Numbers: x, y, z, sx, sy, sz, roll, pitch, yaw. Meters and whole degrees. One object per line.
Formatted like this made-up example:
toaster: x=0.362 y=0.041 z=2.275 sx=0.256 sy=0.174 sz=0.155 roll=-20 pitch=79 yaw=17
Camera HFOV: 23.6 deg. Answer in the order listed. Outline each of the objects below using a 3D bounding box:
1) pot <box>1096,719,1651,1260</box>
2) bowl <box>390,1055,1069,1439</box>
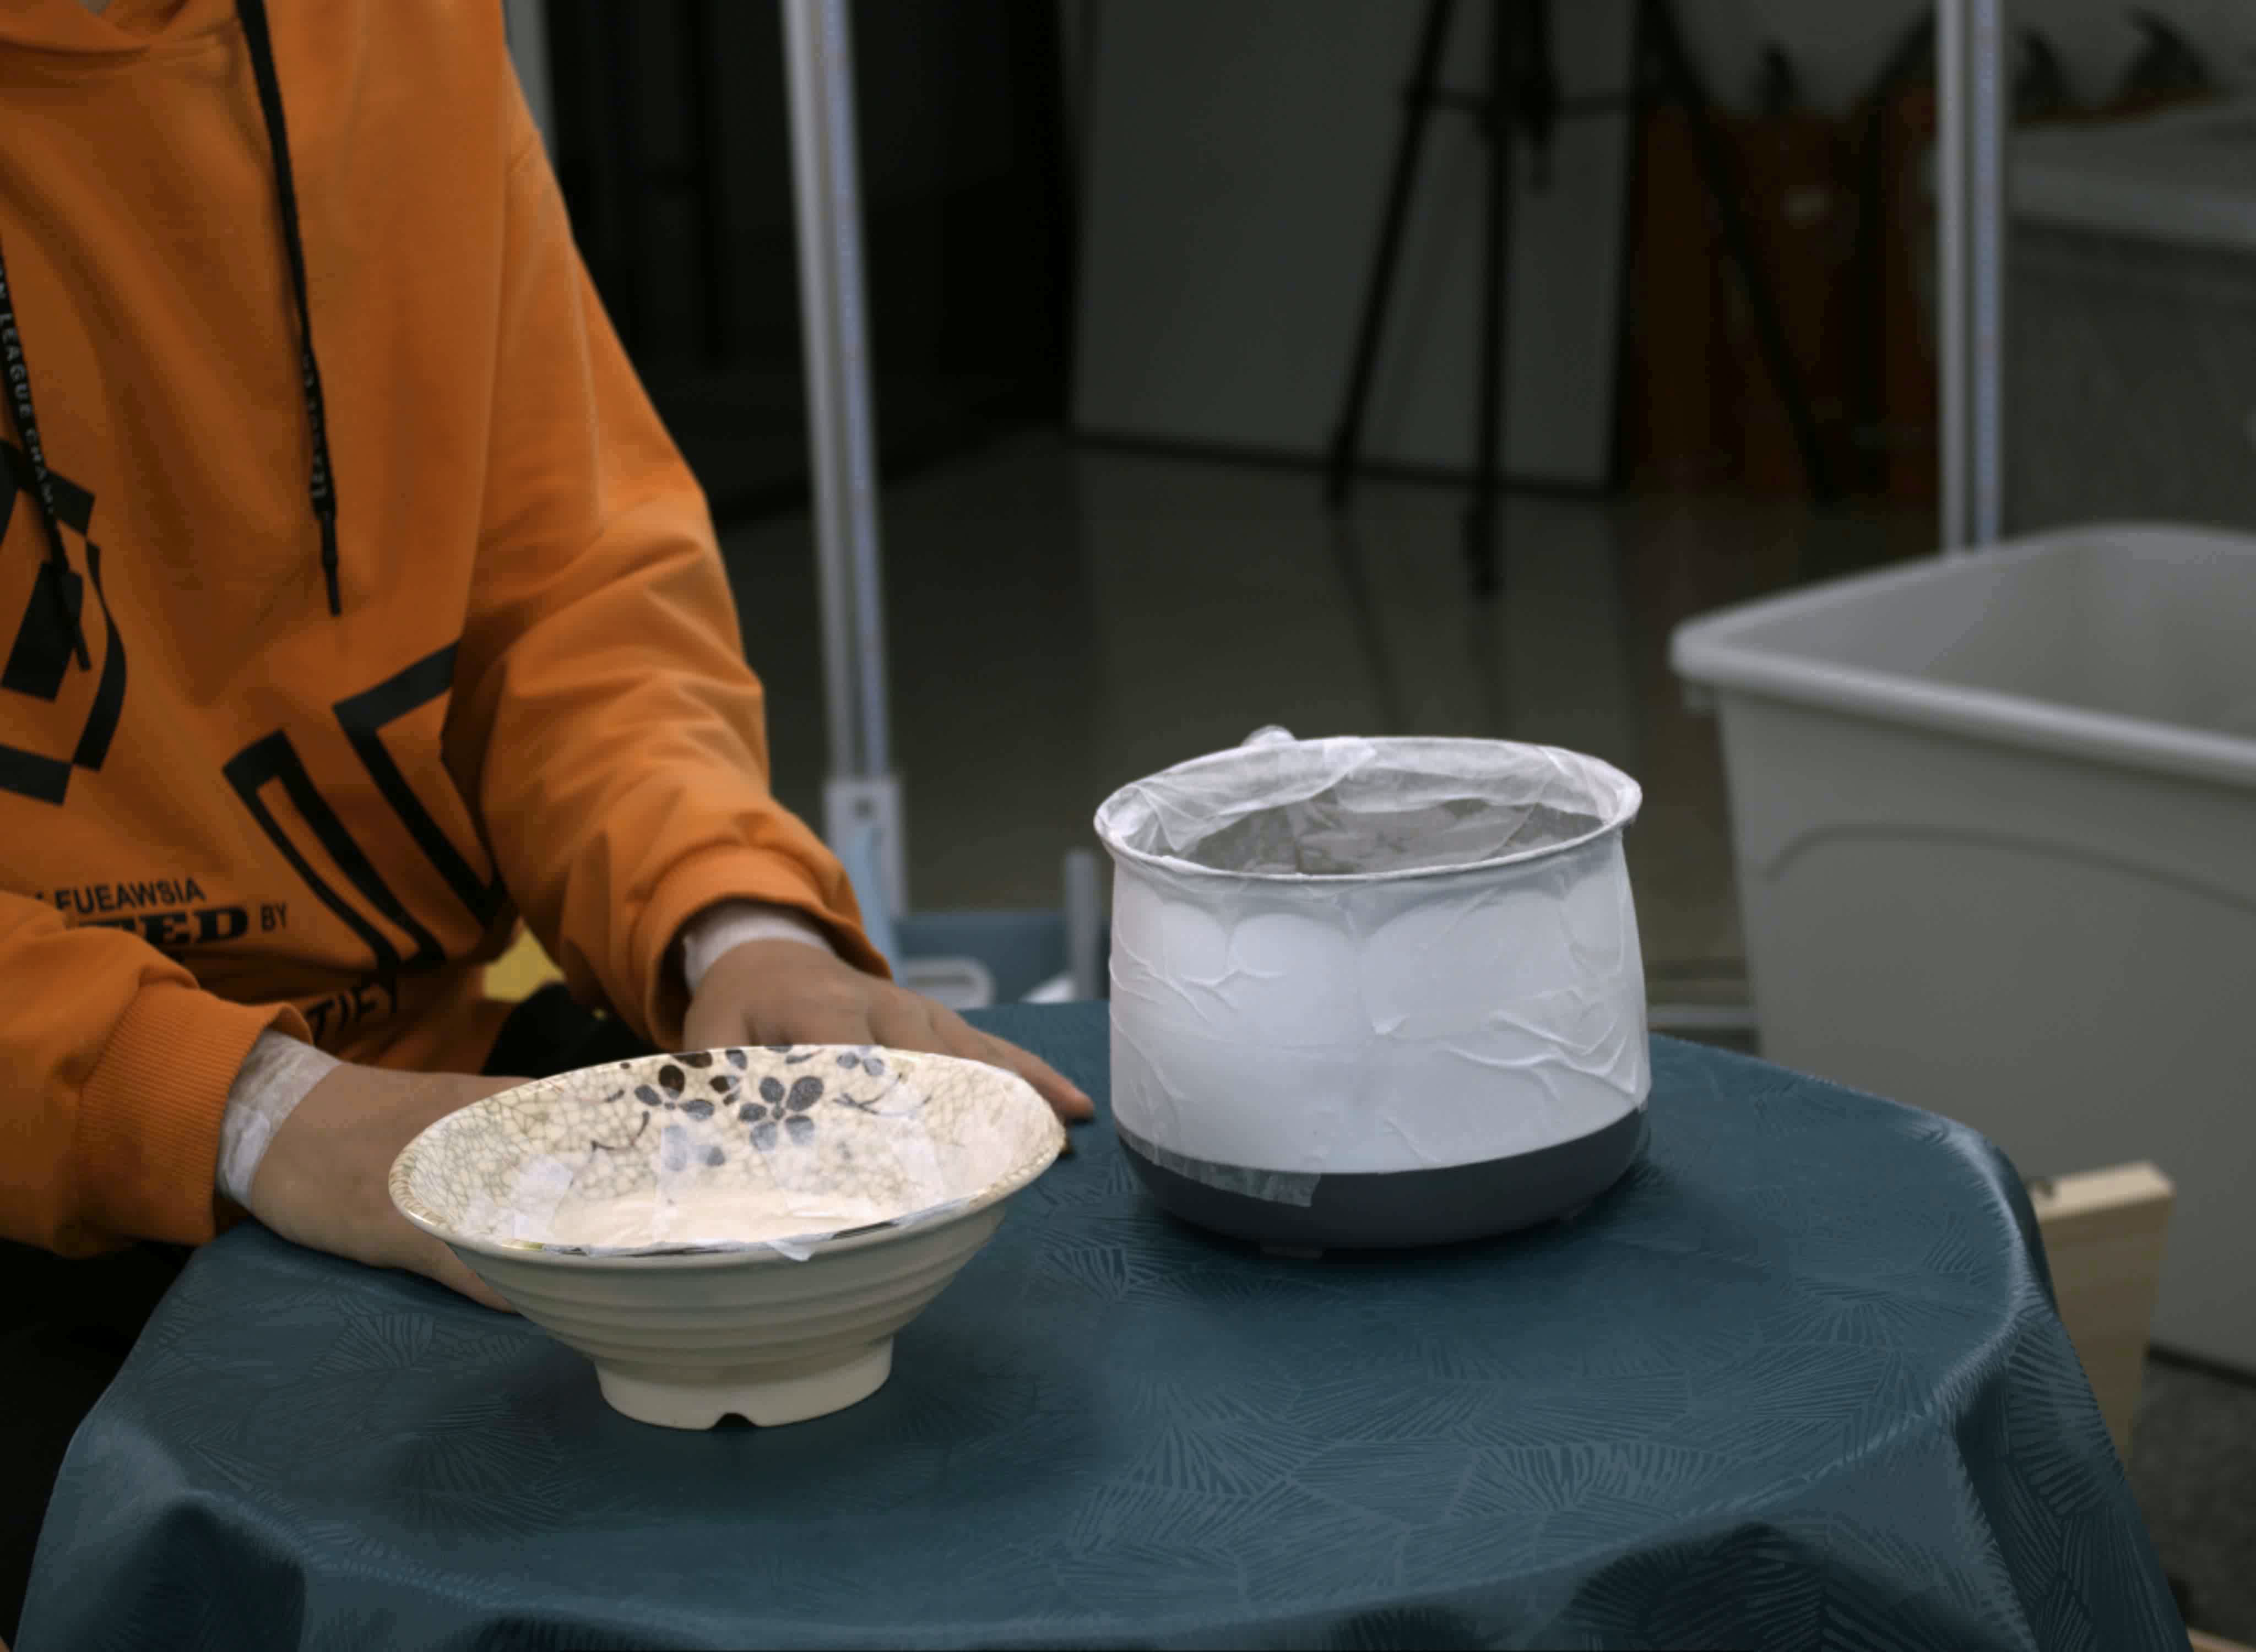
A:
pot: x=0.071 y=0.047 z=1.761 sx=0.175 sy=0.138 sz=0.236 roll=-7 pitch=14 yaw=-16
bowl: x=-0.114 y=0.131 z=1.607 sx=0.201 sy=0.079 sz=0.204 roll=-5 pitch=12 yaw=0
